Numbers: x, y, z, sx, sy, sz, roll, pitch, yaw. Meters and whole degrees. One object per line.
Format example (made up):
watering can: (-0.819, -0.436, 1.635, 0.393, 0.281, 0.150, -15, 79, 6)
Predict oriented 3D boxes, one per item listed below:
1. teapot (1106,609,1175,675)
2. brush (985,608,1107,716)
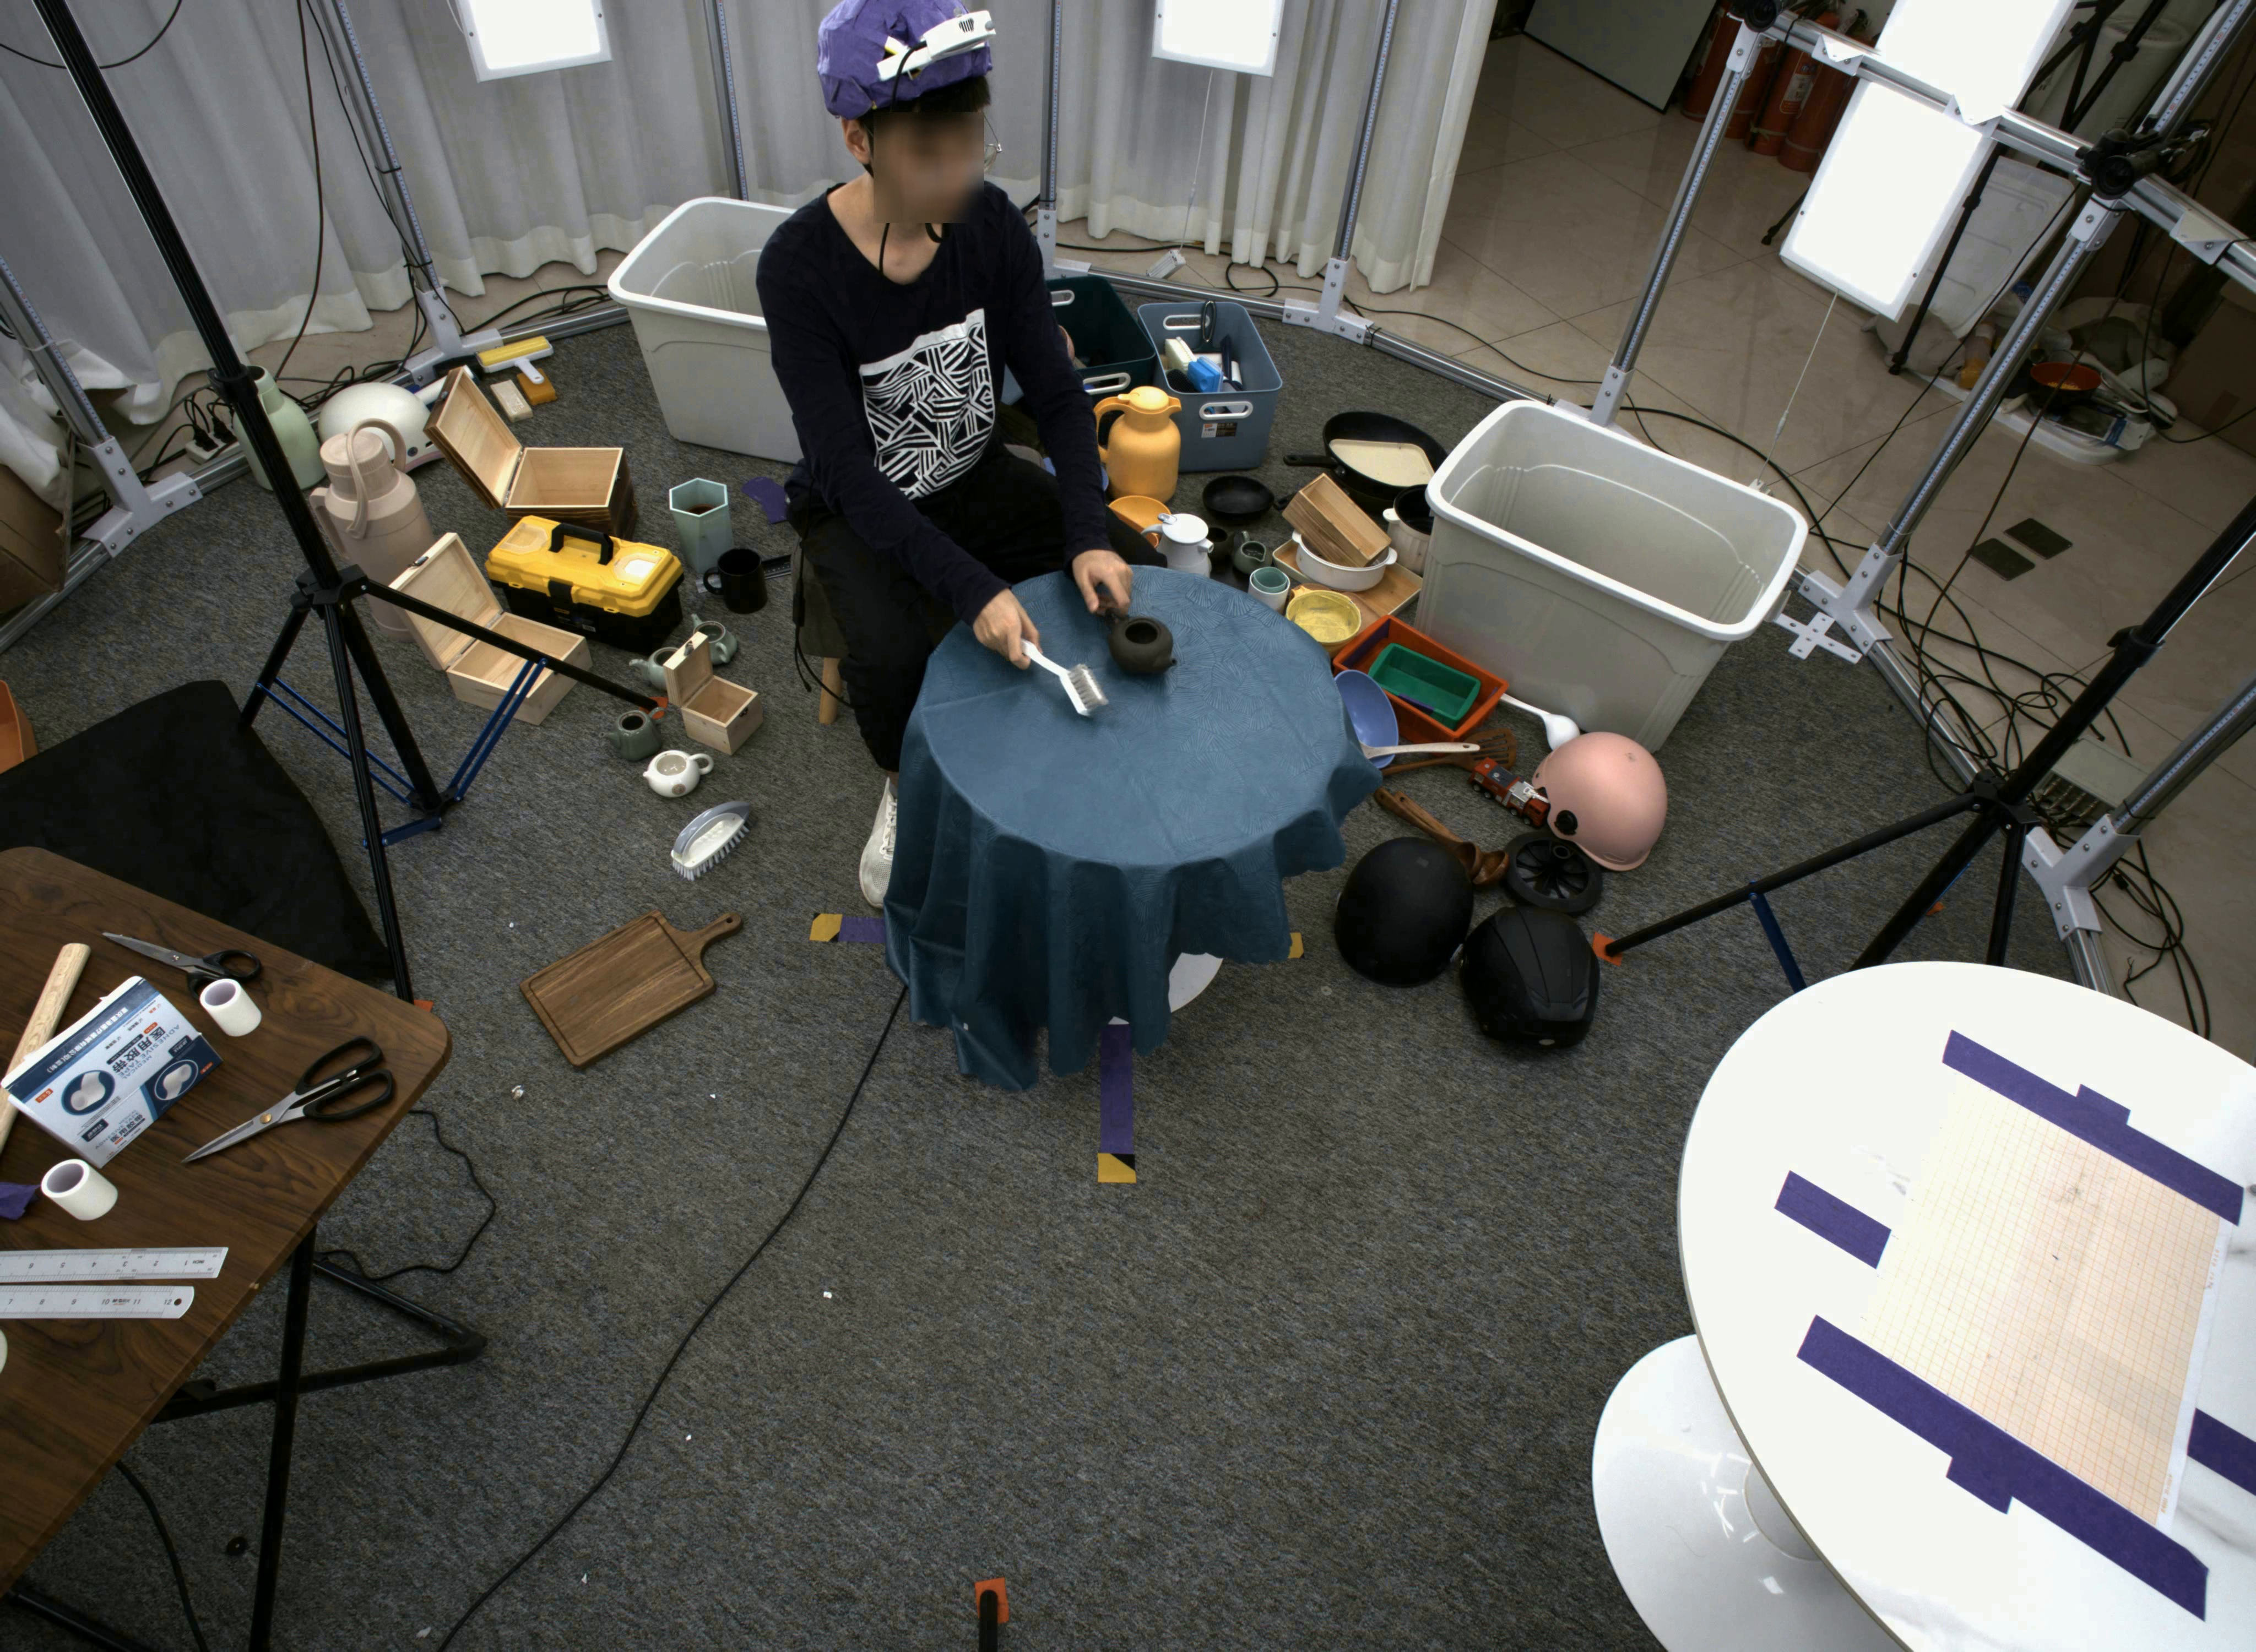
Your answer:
teapot: (0.017, -0.263, 1.858, 0.093, 0.063, 0.157, -29, 56, -25)
brush: (-0.117, -0.246, 1.819, 0.247, 0.049, 0.034, 47, 30, 23)
